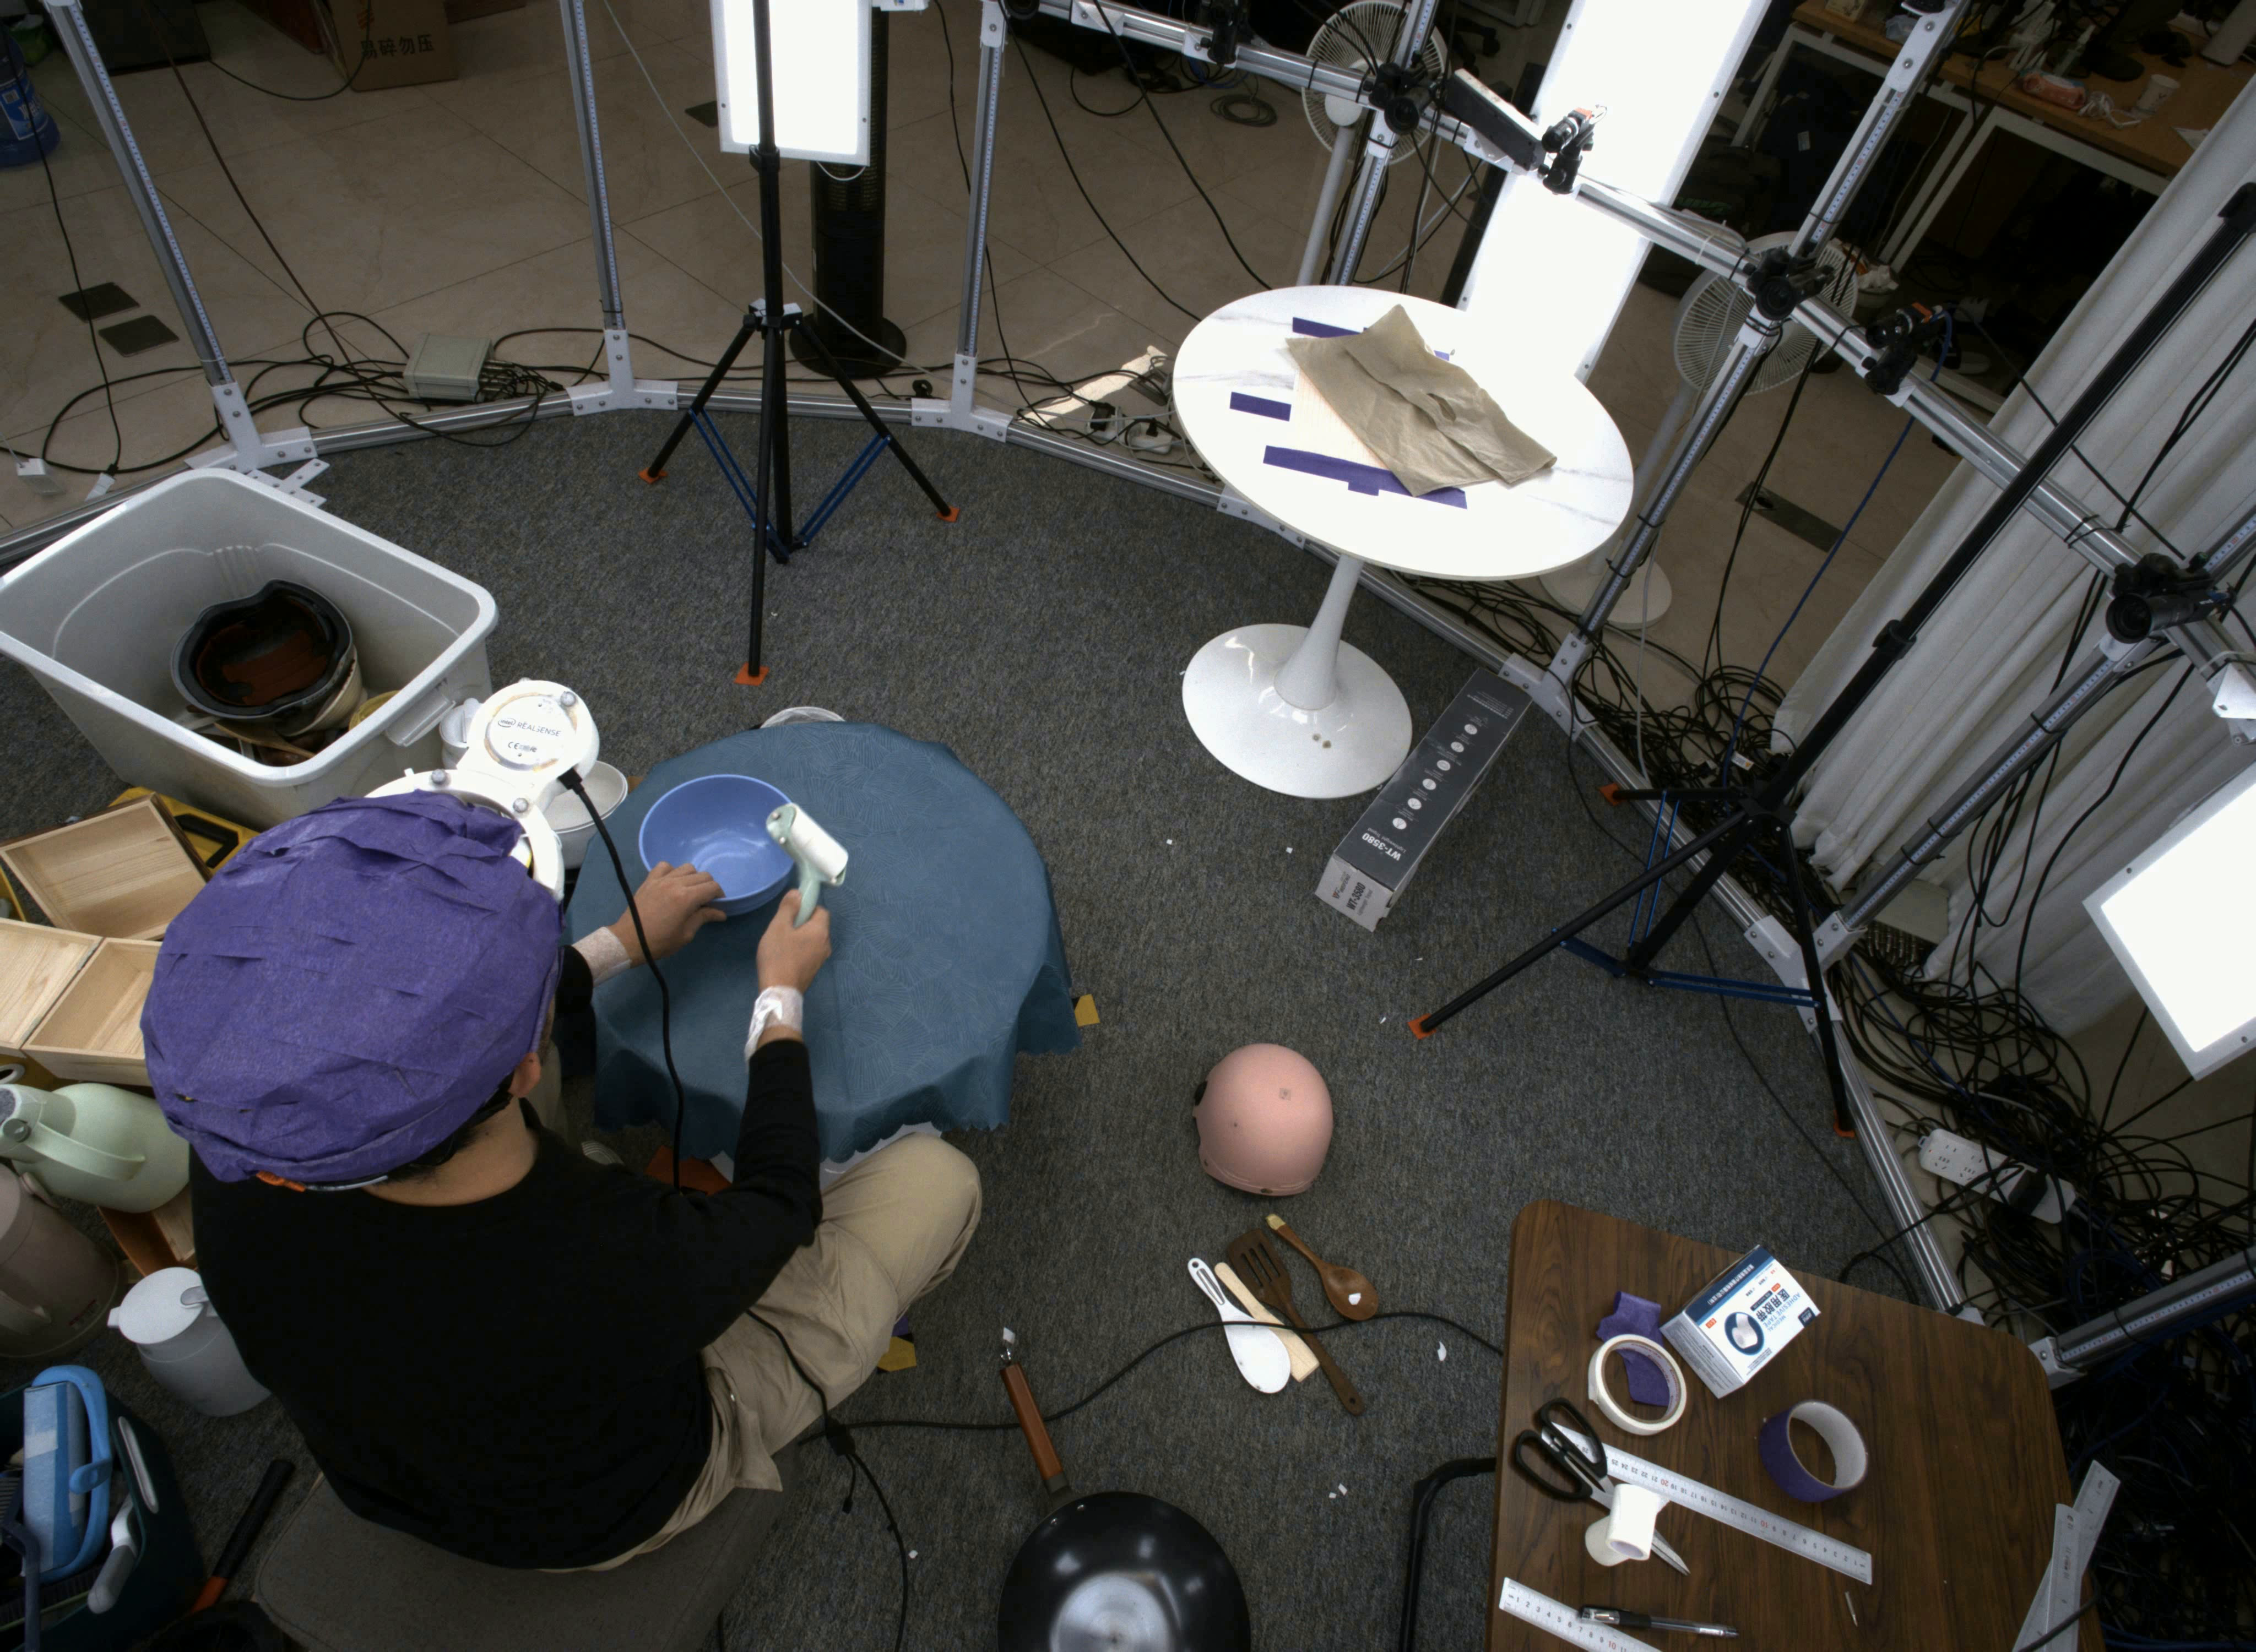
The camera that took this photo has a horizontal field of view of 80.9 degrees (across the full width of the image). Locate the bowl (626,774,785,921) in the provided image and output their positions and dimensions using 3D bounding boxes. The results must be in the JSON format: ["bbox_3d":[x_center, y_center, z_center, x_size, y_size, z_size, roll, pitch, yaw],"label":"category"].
[{"bbox_3d":[-0.517,0.041,1.600,0.196,0.097,0.193,8,51,-9],"label":"bowl"}]

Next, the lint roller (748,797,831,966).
[{"bbox_3d":[-0.402,0.069,1.508,0.047,0.121,0.193,-17,50,17],"label":"lint roller"}]
